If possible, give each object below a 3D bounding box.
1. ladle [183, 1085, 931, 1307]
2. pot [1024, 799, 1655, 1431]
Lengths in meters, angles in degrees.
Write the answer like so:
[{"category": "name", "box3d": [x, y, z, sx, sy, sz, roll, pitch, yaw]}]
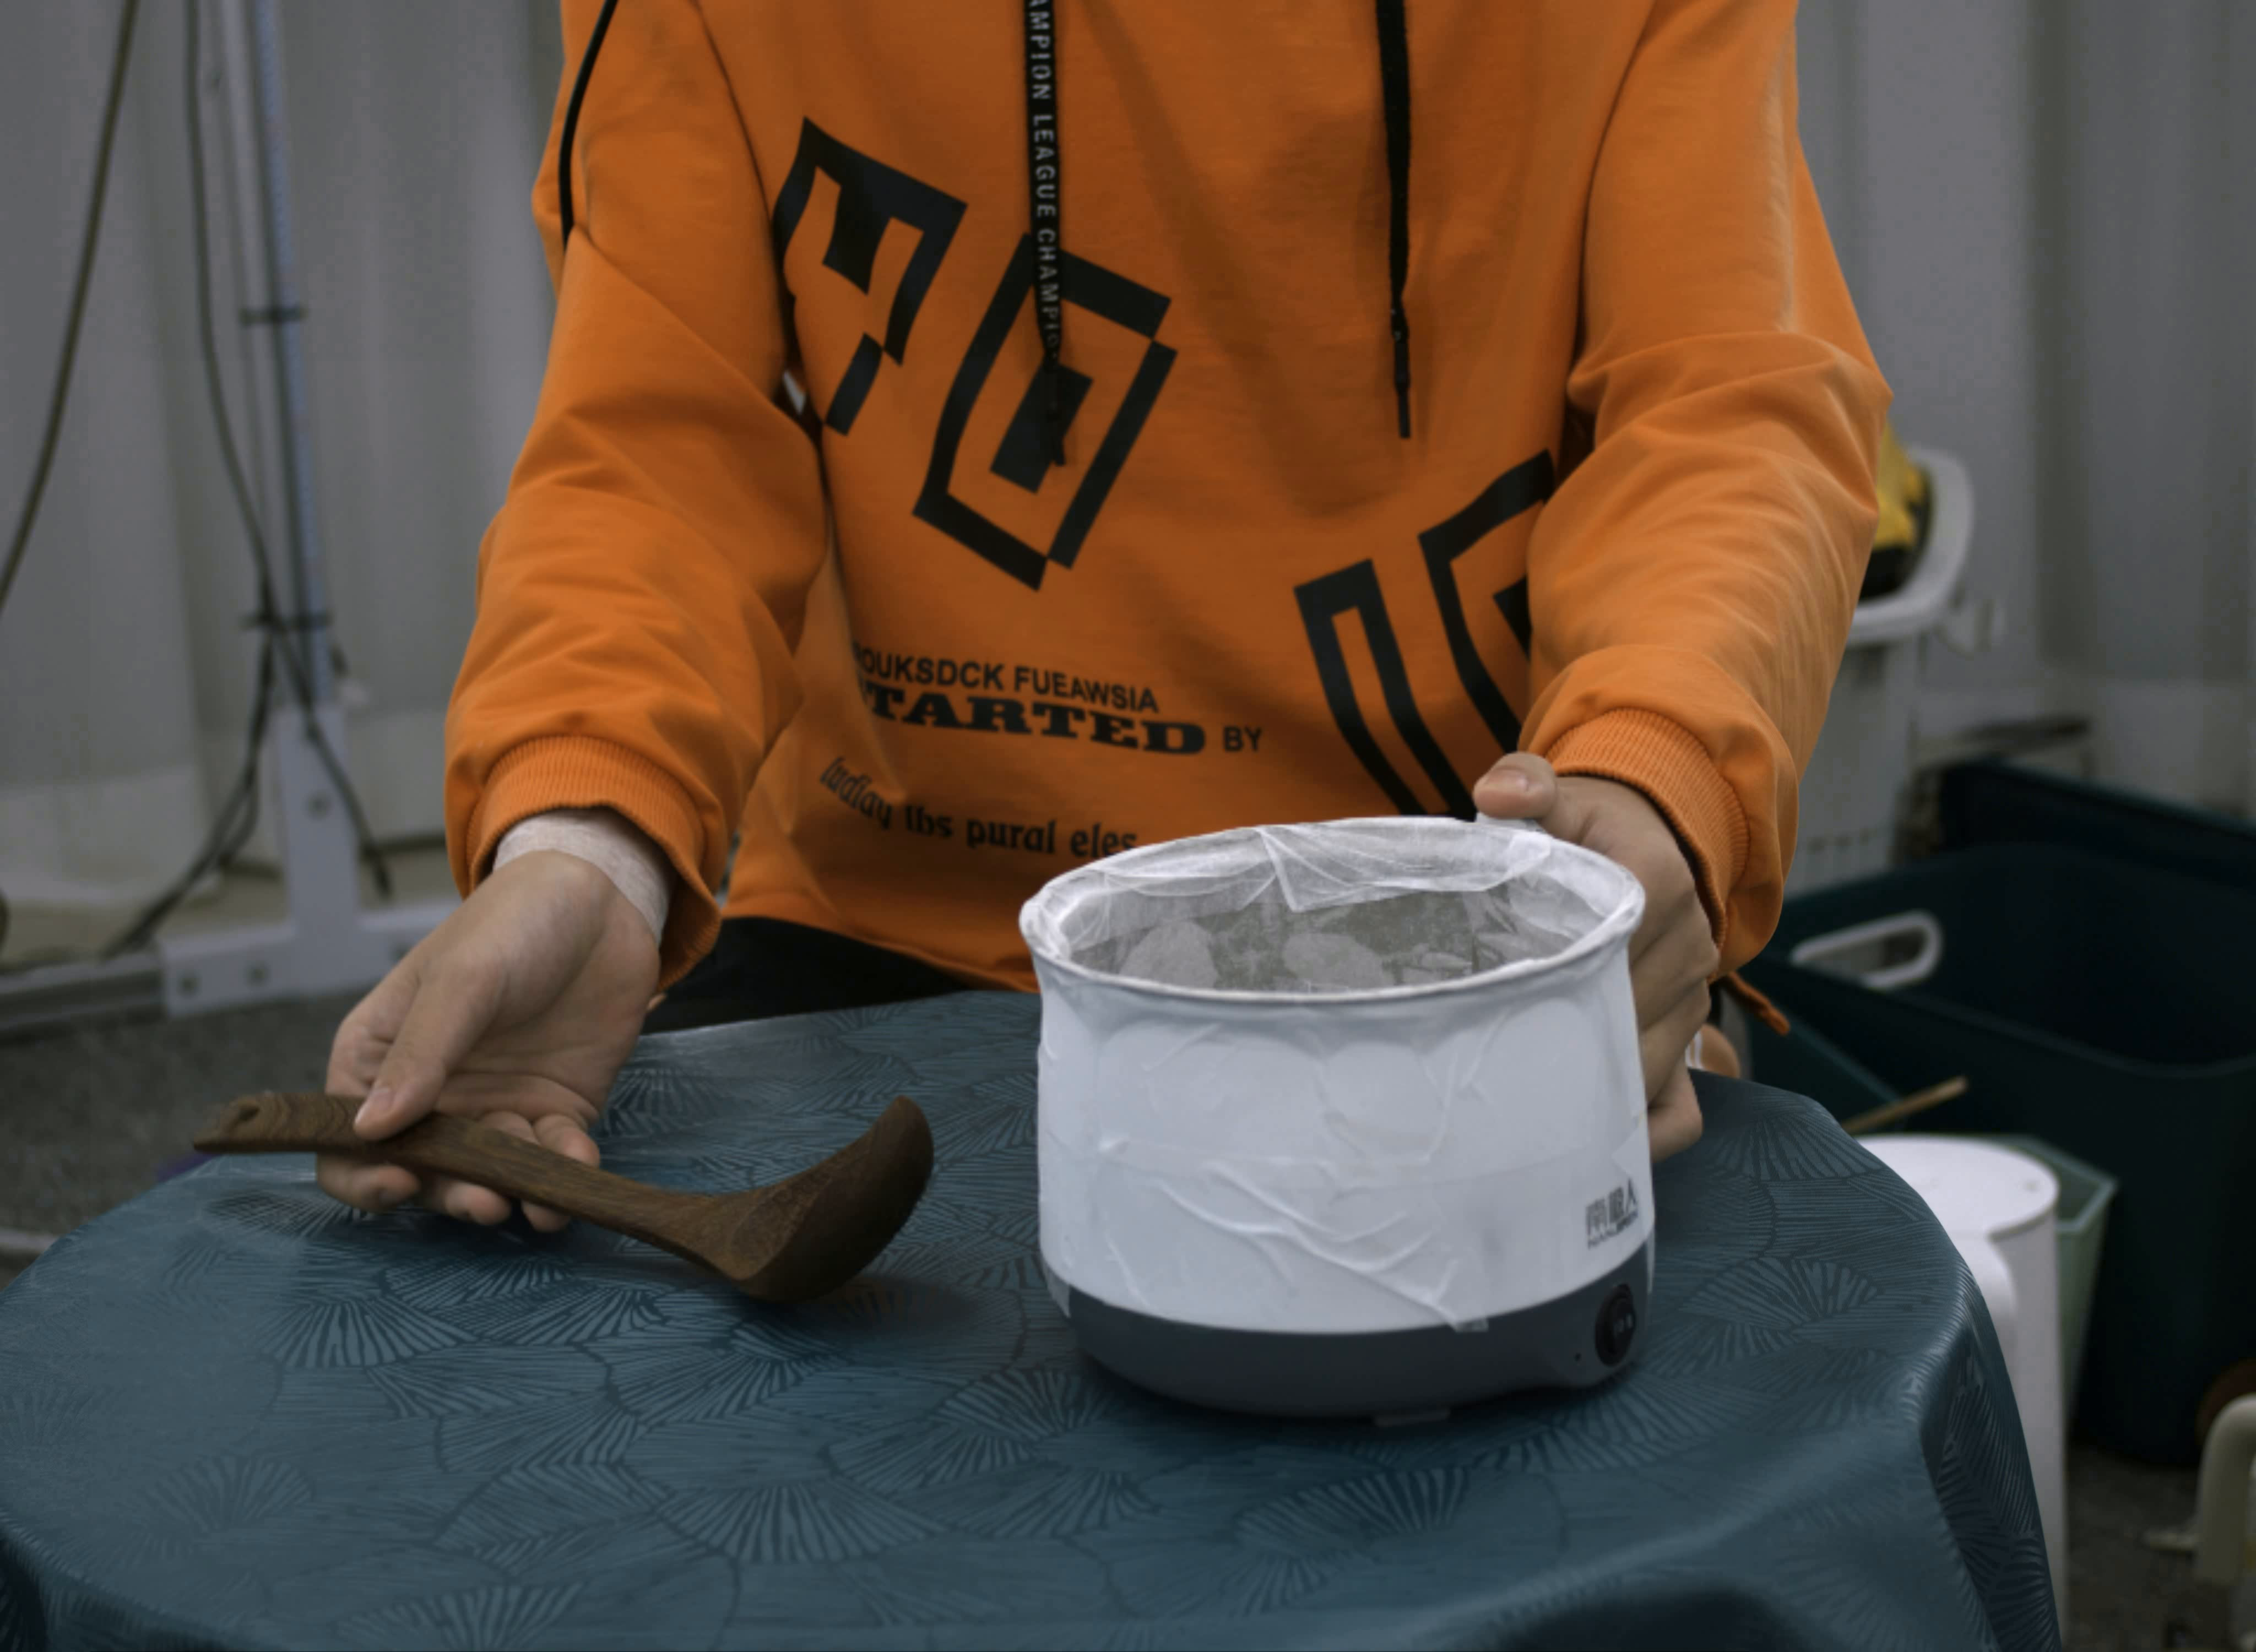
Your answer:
[{"category": "ladle", "box3d": [-0.182, 0.092, 1.672, 0.275, 0.070, 0.076, 12, 36, 28]}, {"category": "pot", "box3d": [0.075, 0.076, 1.581, 0.179, 0.136, 0.234, 7, 18, 31]}]
